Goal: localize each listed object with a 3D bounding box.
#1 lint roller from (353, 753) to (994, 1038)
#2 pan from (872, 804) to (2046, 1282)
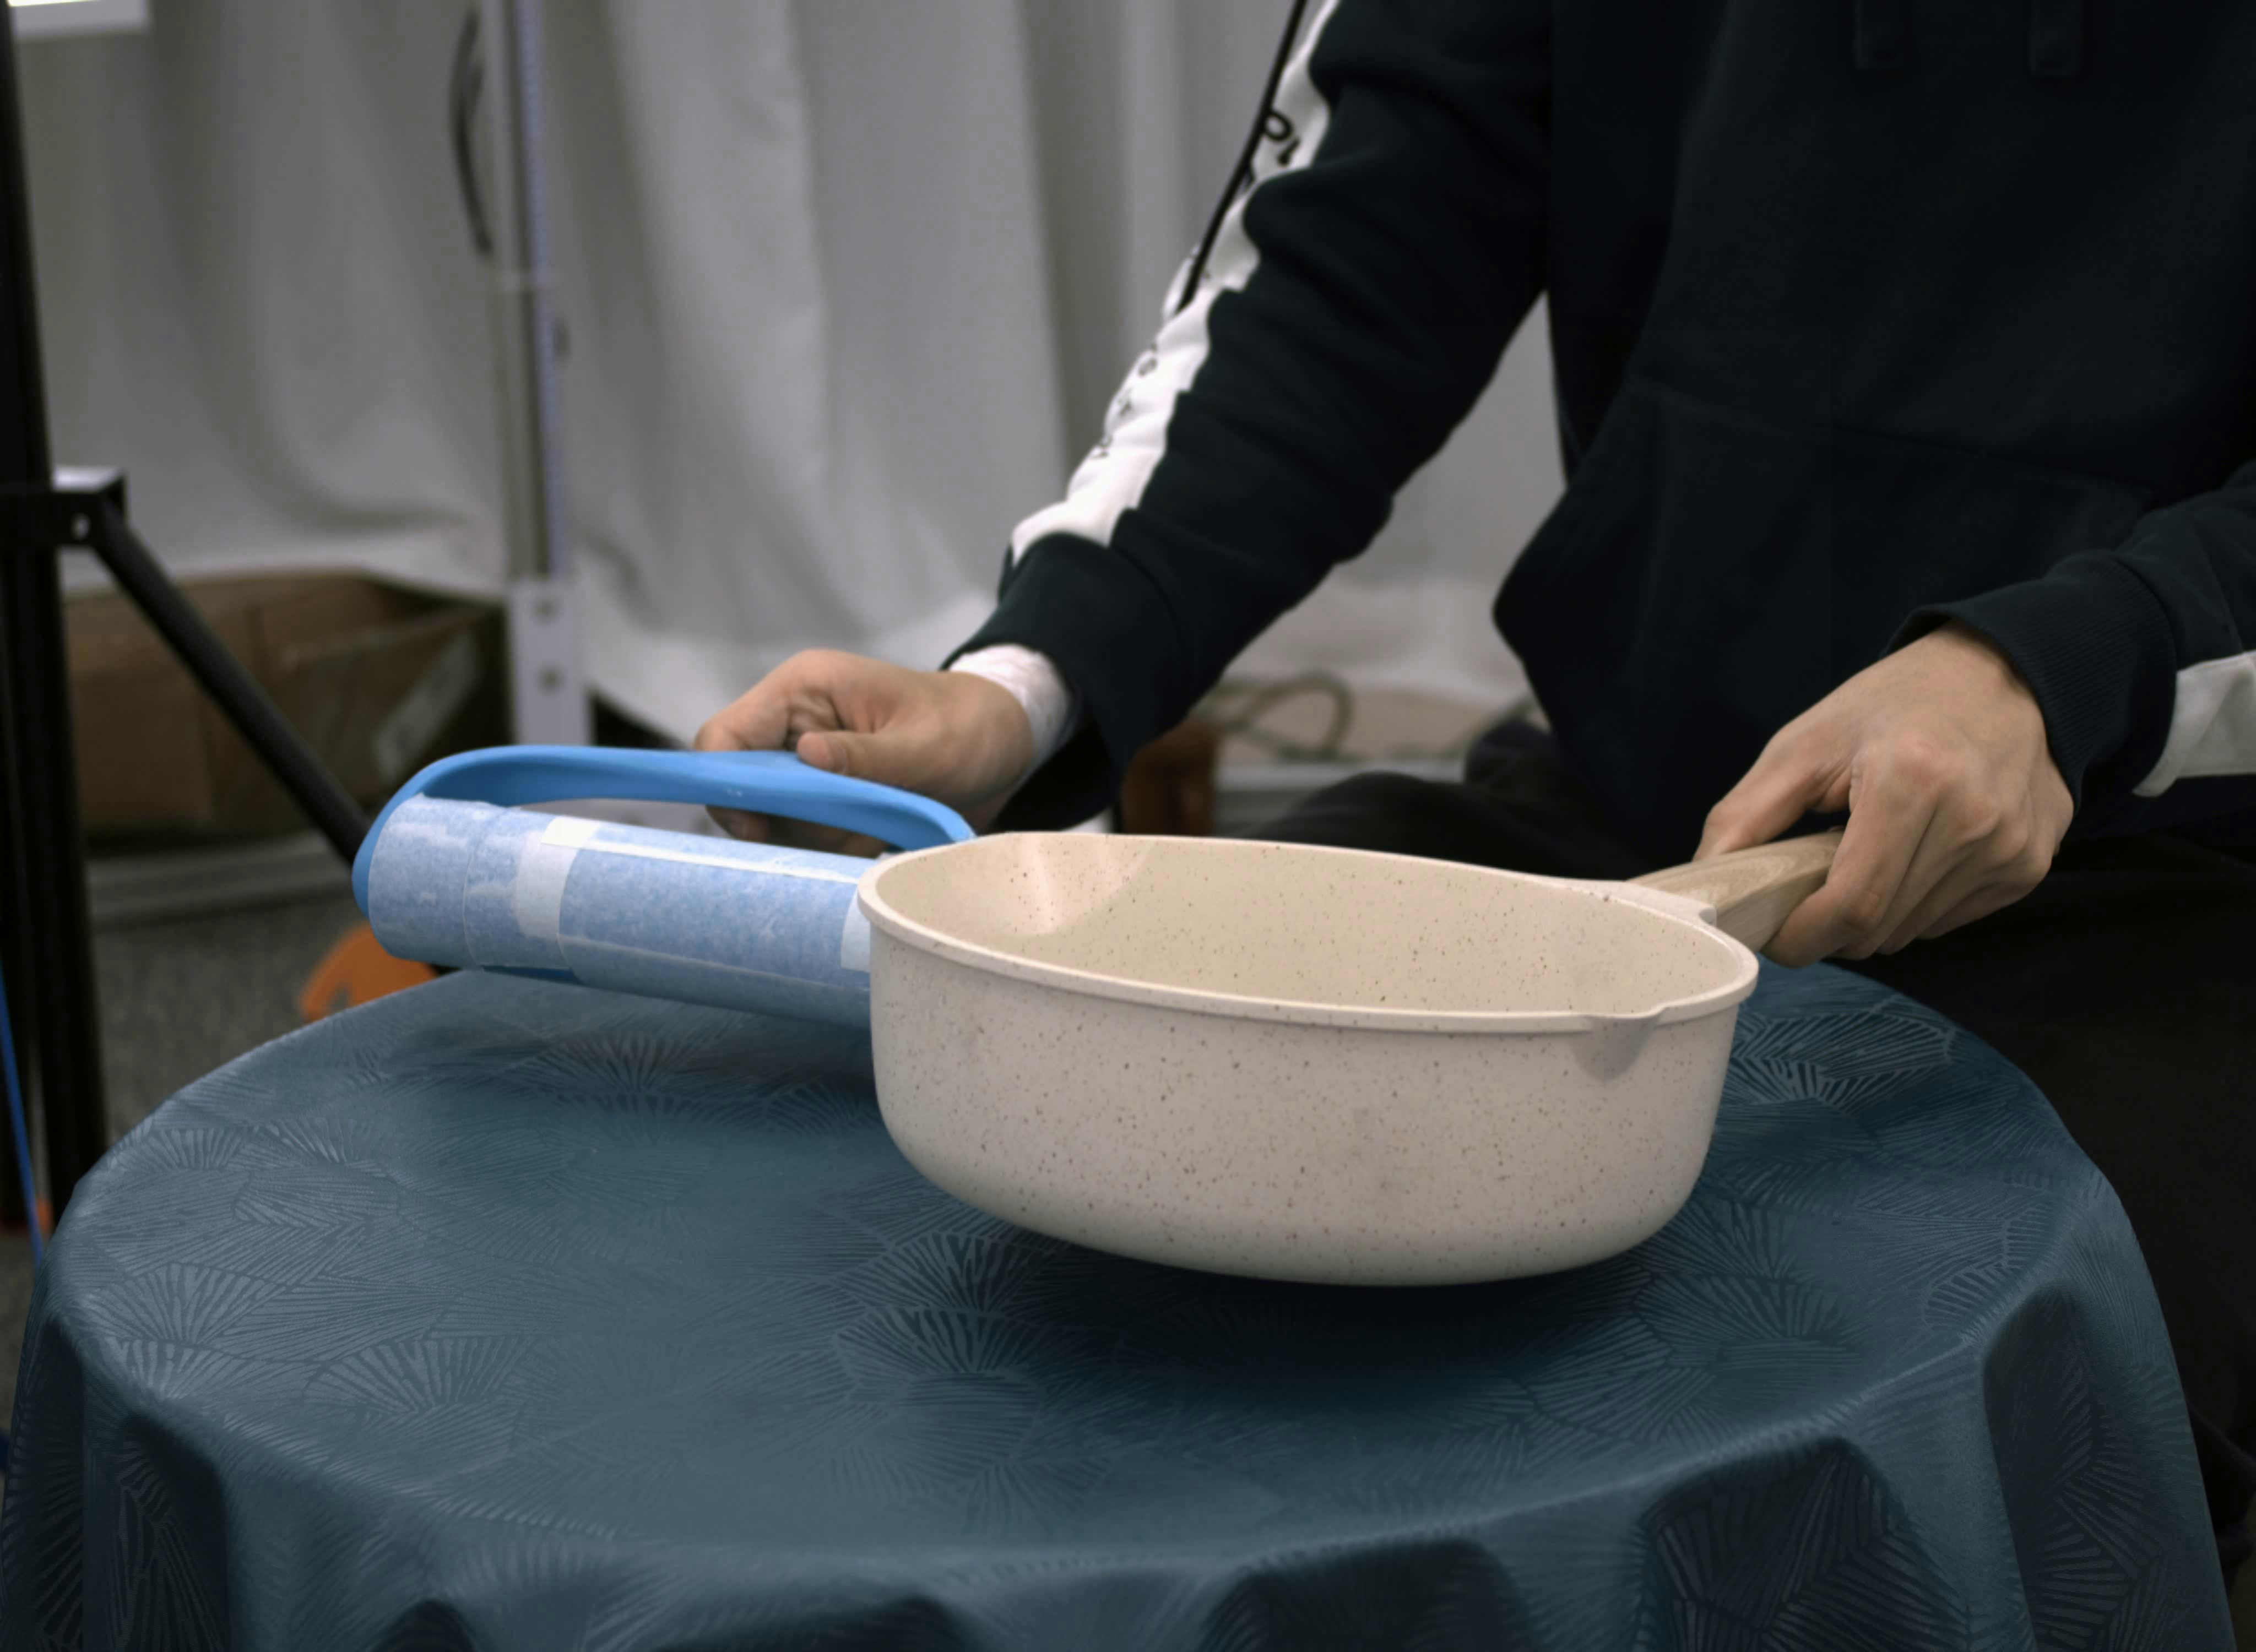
[{"bbox_3d":[-0.121,0.009,1.734,0.232,0.068,0.178,5,21,24],"label":"lint roller"},{"bbox_3d":[0.120,0.054,1.528,0.423,0.102,0.269,-3,11,-40],"label":"pan"}]
